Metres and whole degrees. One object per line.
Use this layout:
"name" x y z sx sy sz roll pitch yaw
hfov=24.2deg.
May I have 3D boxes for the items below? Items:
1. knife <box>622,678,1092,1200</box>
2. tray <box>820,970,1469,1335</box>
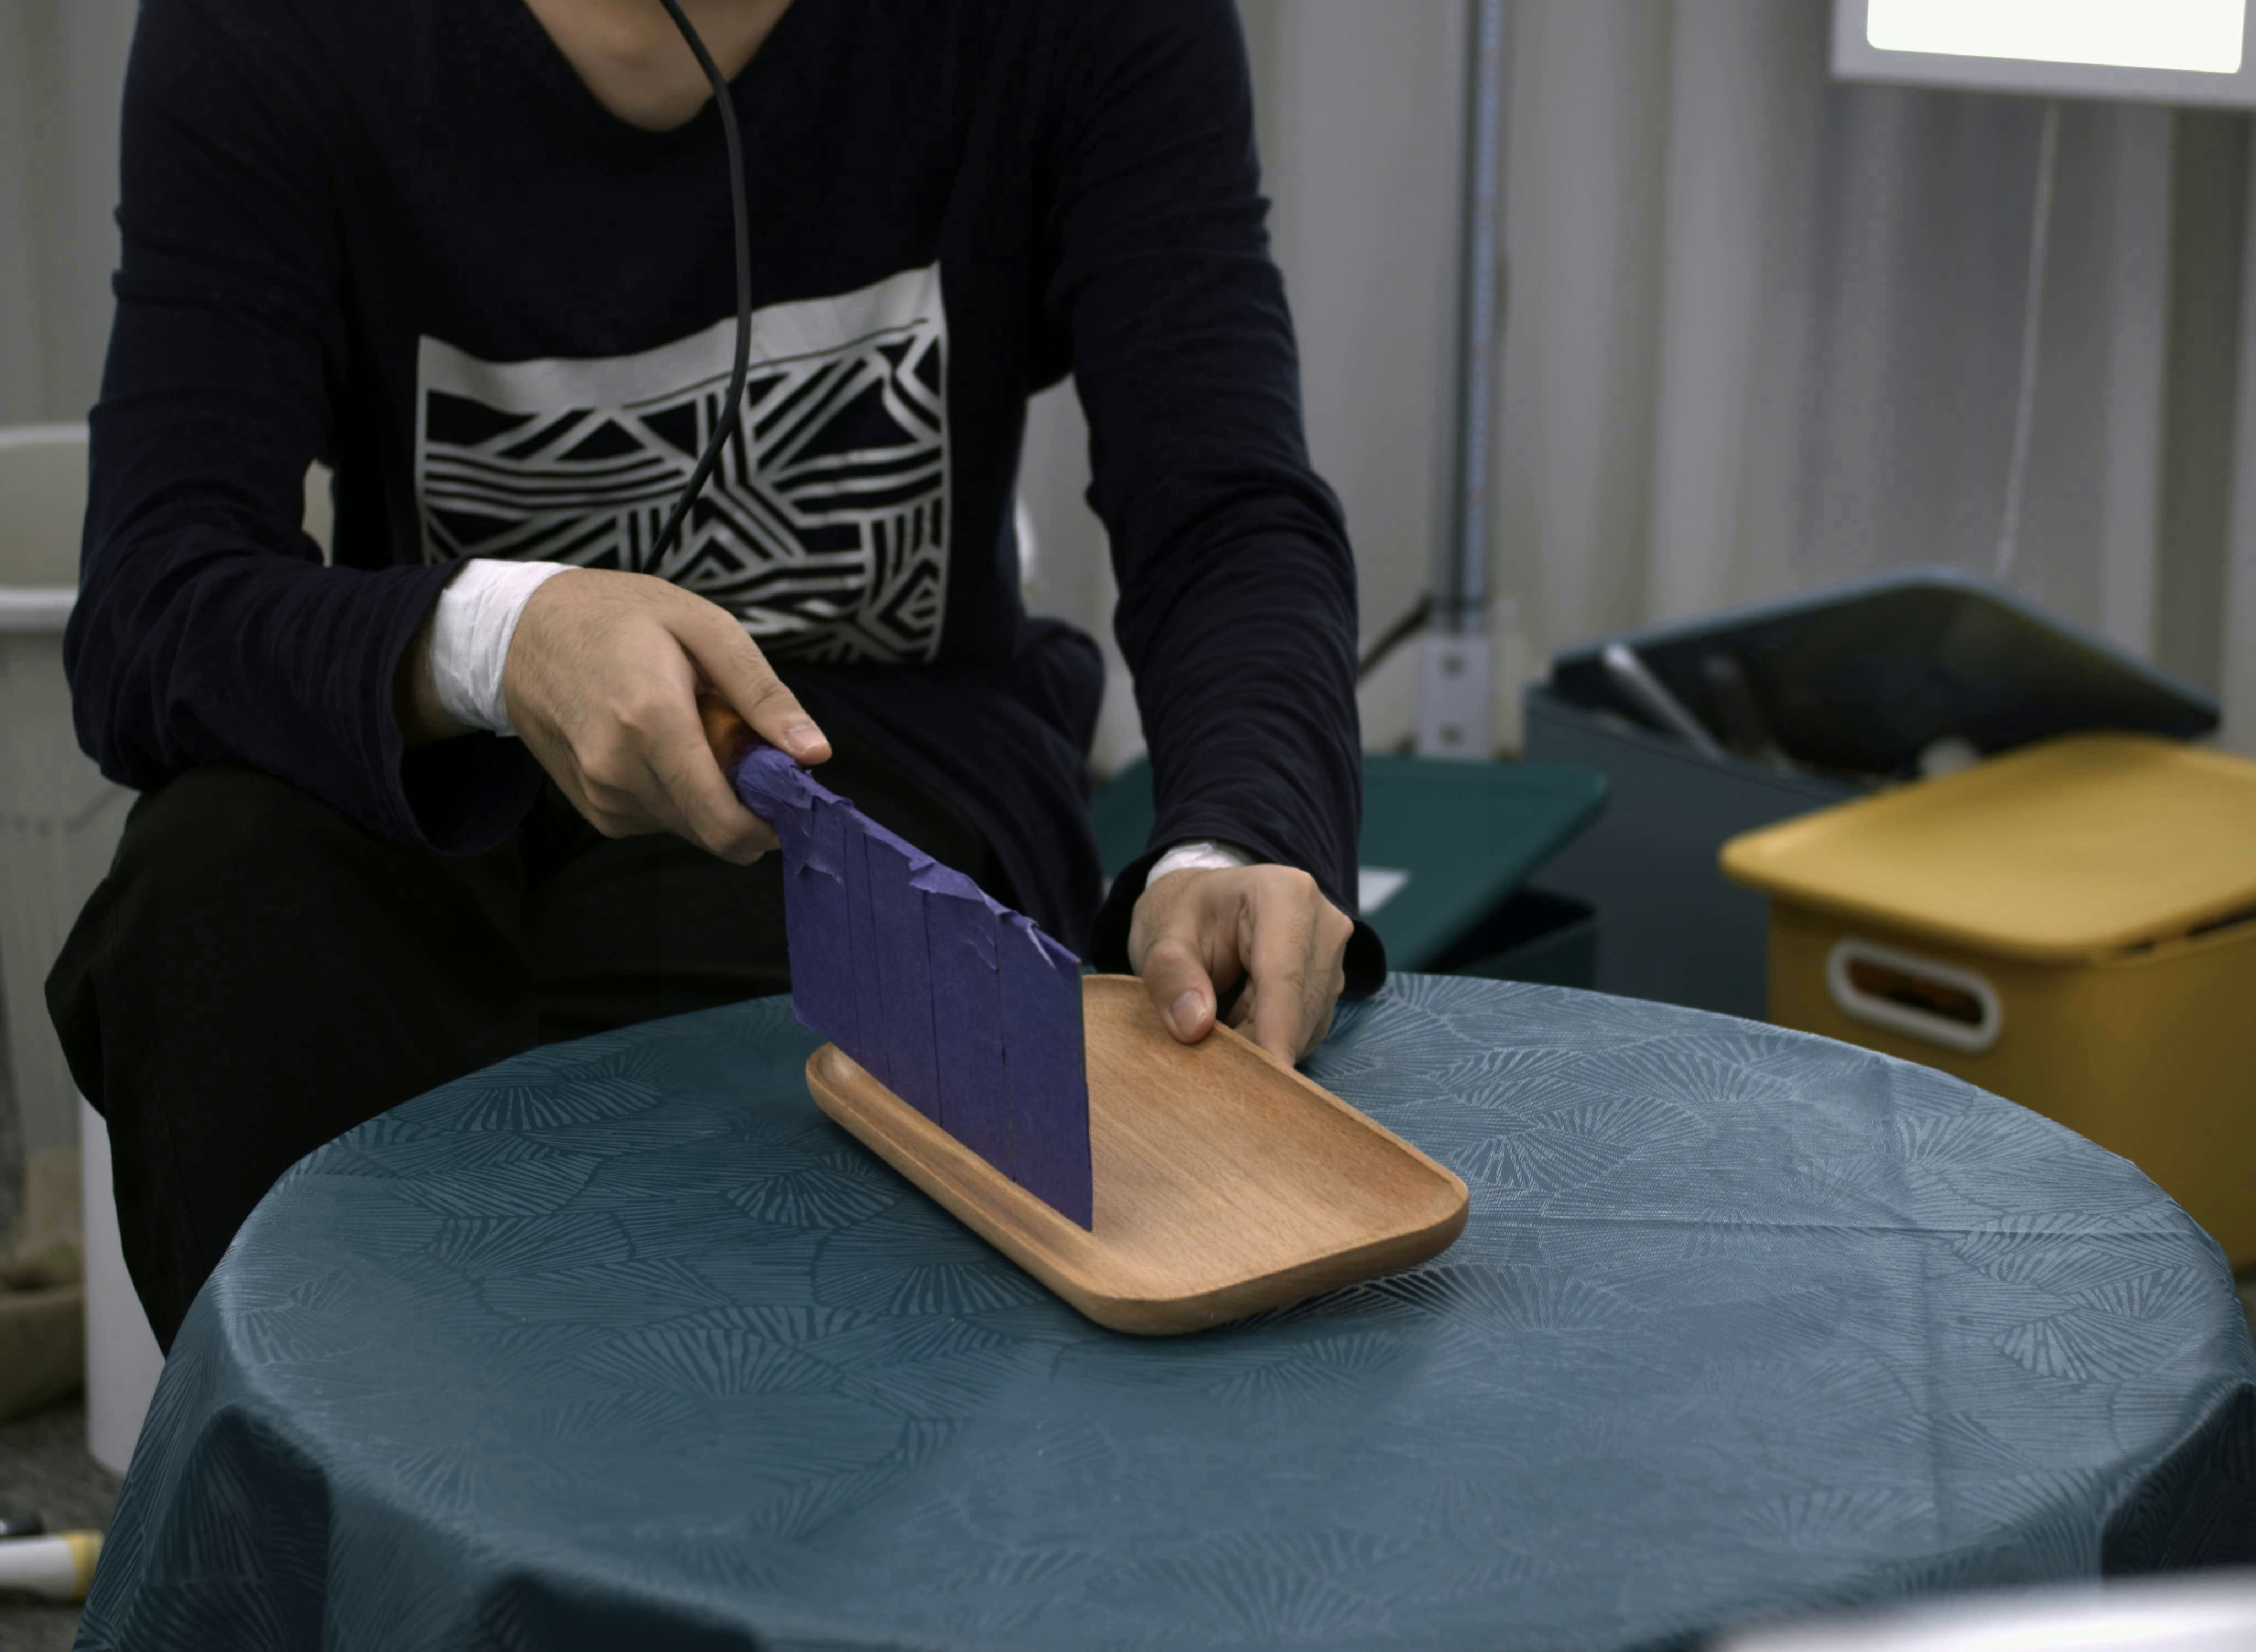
"knife" -0.089 0.034 1.653 0.032 0.105 0.311 -11 21 -24
"tray" 0.001 0.097 1.615 0.131 0.023 0.248 -11 19 -21
